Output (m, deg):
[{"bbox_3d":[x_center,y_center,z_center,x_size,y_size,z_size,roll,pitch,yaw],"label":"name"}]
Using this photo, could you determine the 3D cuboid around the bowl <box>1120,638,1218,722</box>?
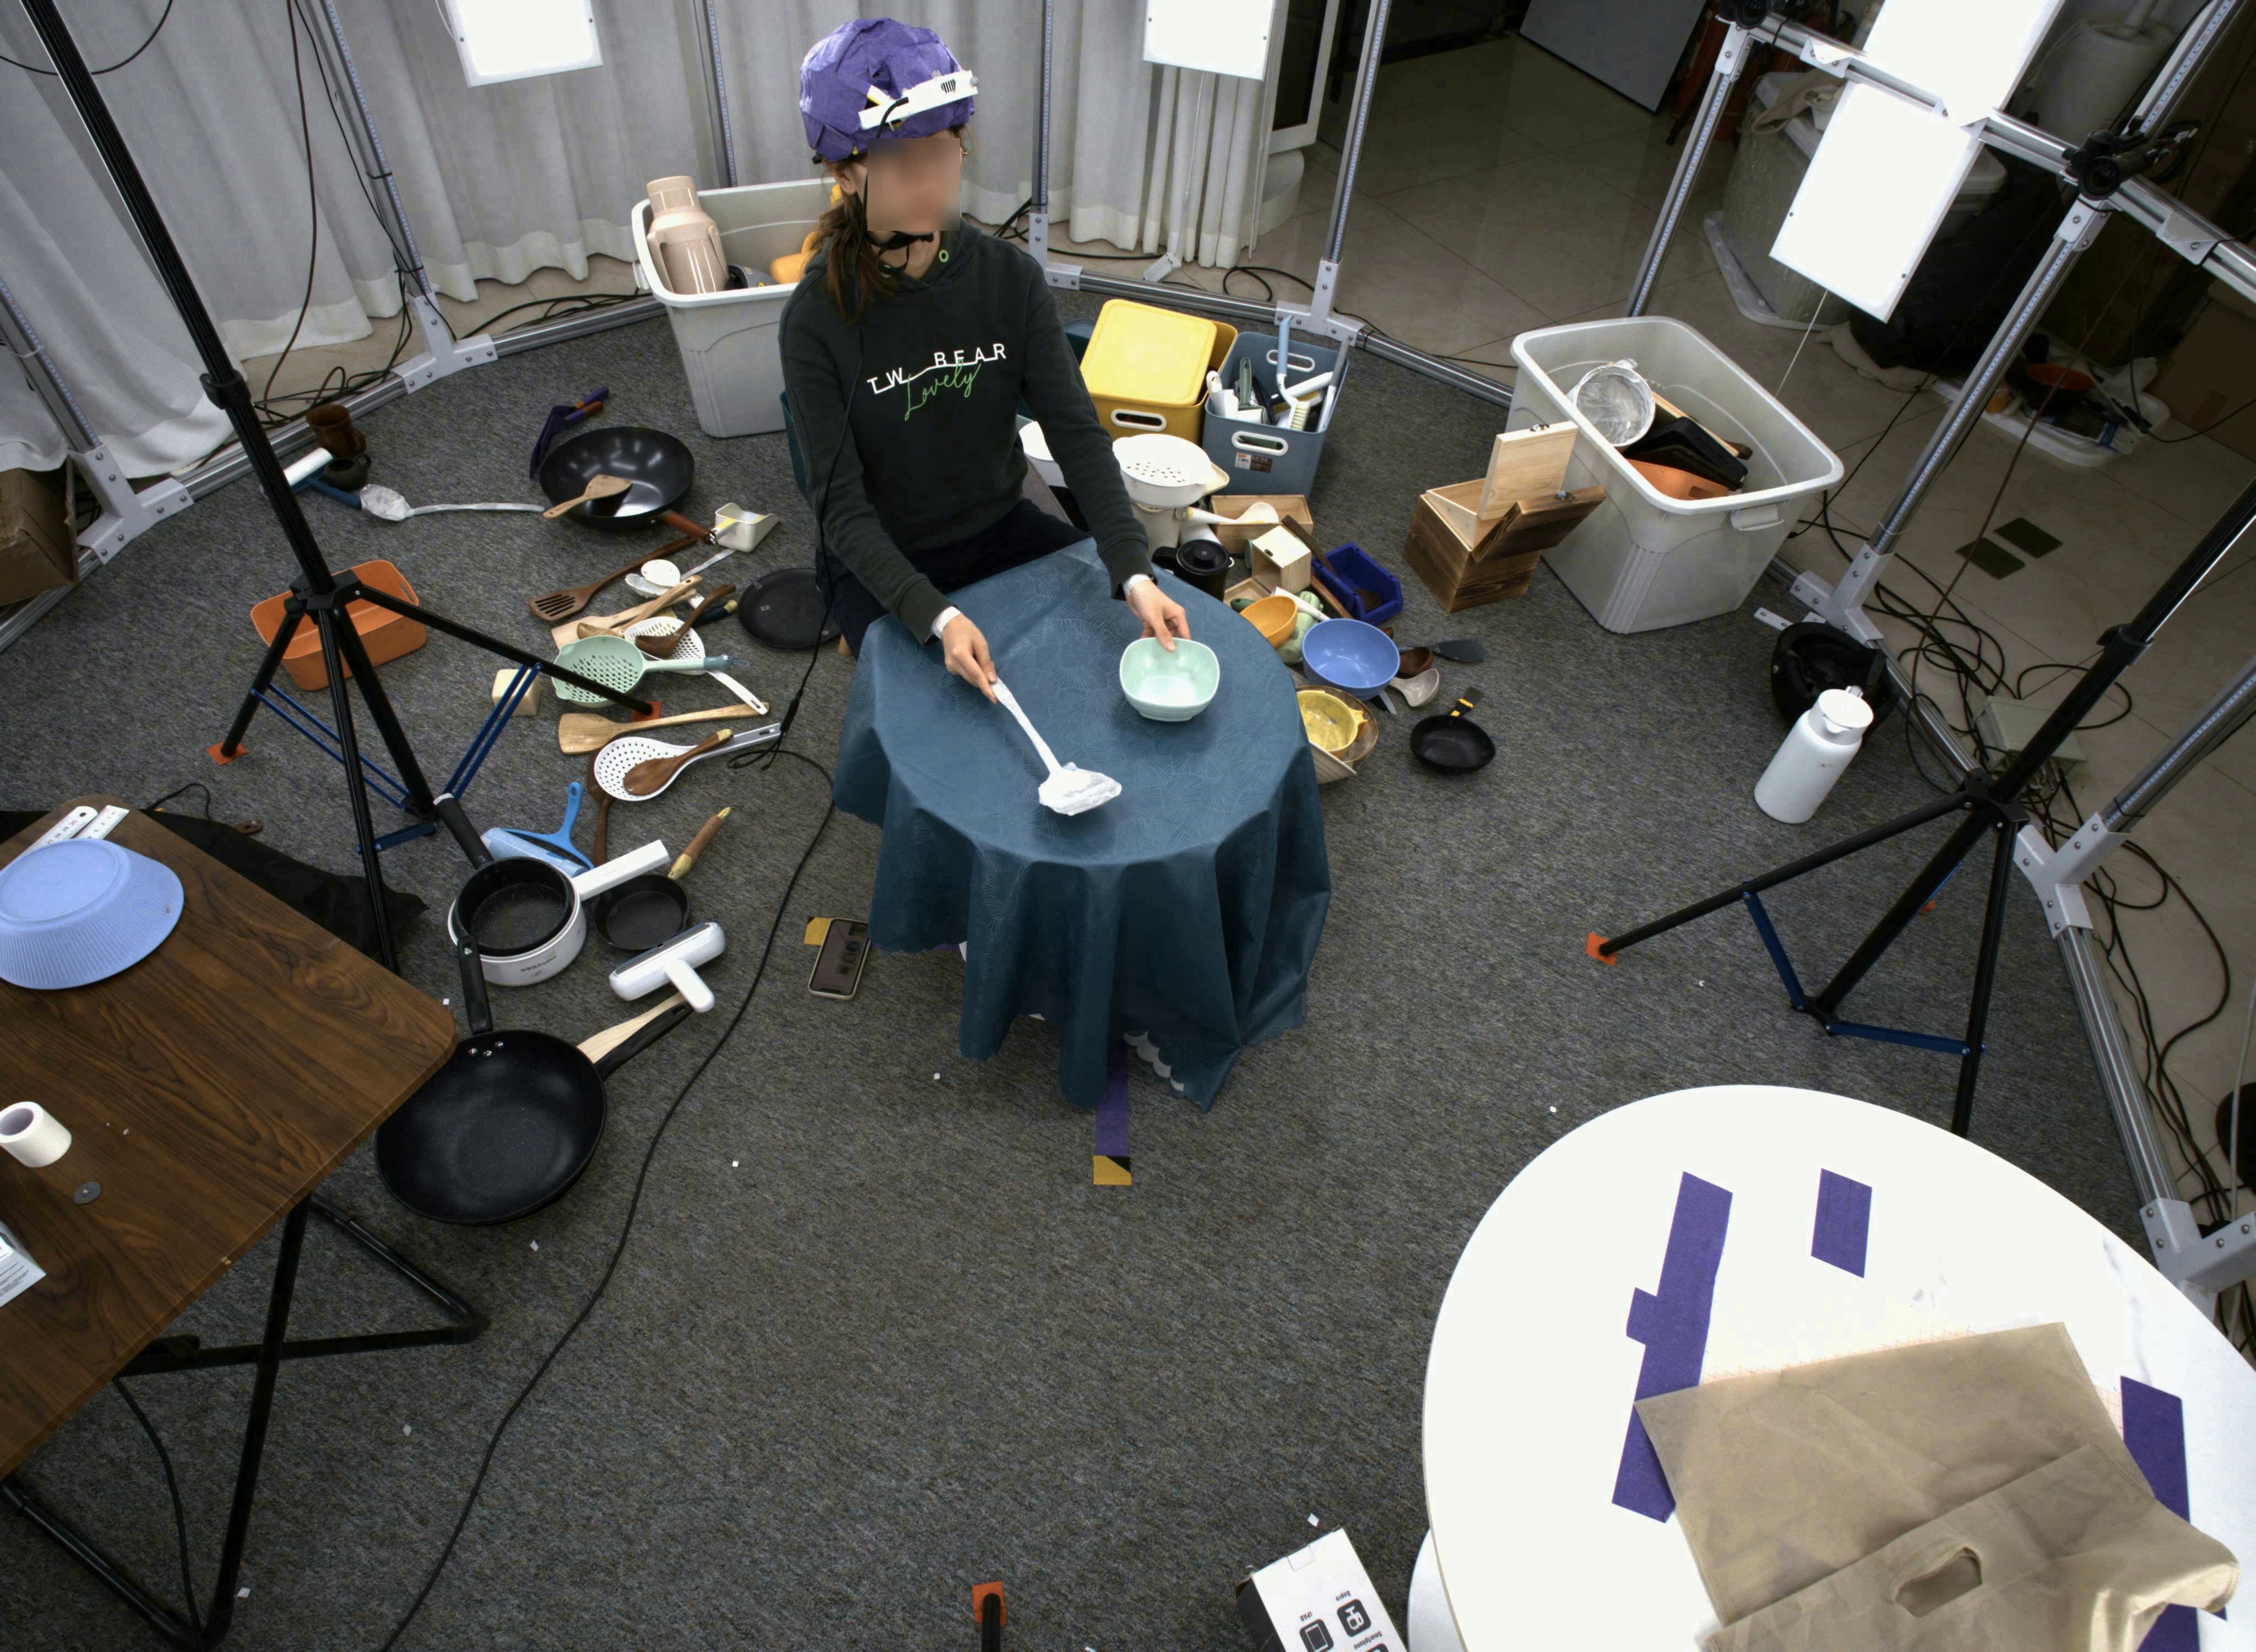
[{"bbox_3d":[0.056,-0.197,1.816,0.151,0.057,0.155,3,49,-4],"label":"bowl"}]

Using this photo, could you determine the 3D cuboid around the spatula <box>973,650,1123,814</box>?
[{"bbox_3d":[-0.131,-0.138,1.741,0.099,0.044,0.372,-23,55,-20],"label":"spatula"}]
